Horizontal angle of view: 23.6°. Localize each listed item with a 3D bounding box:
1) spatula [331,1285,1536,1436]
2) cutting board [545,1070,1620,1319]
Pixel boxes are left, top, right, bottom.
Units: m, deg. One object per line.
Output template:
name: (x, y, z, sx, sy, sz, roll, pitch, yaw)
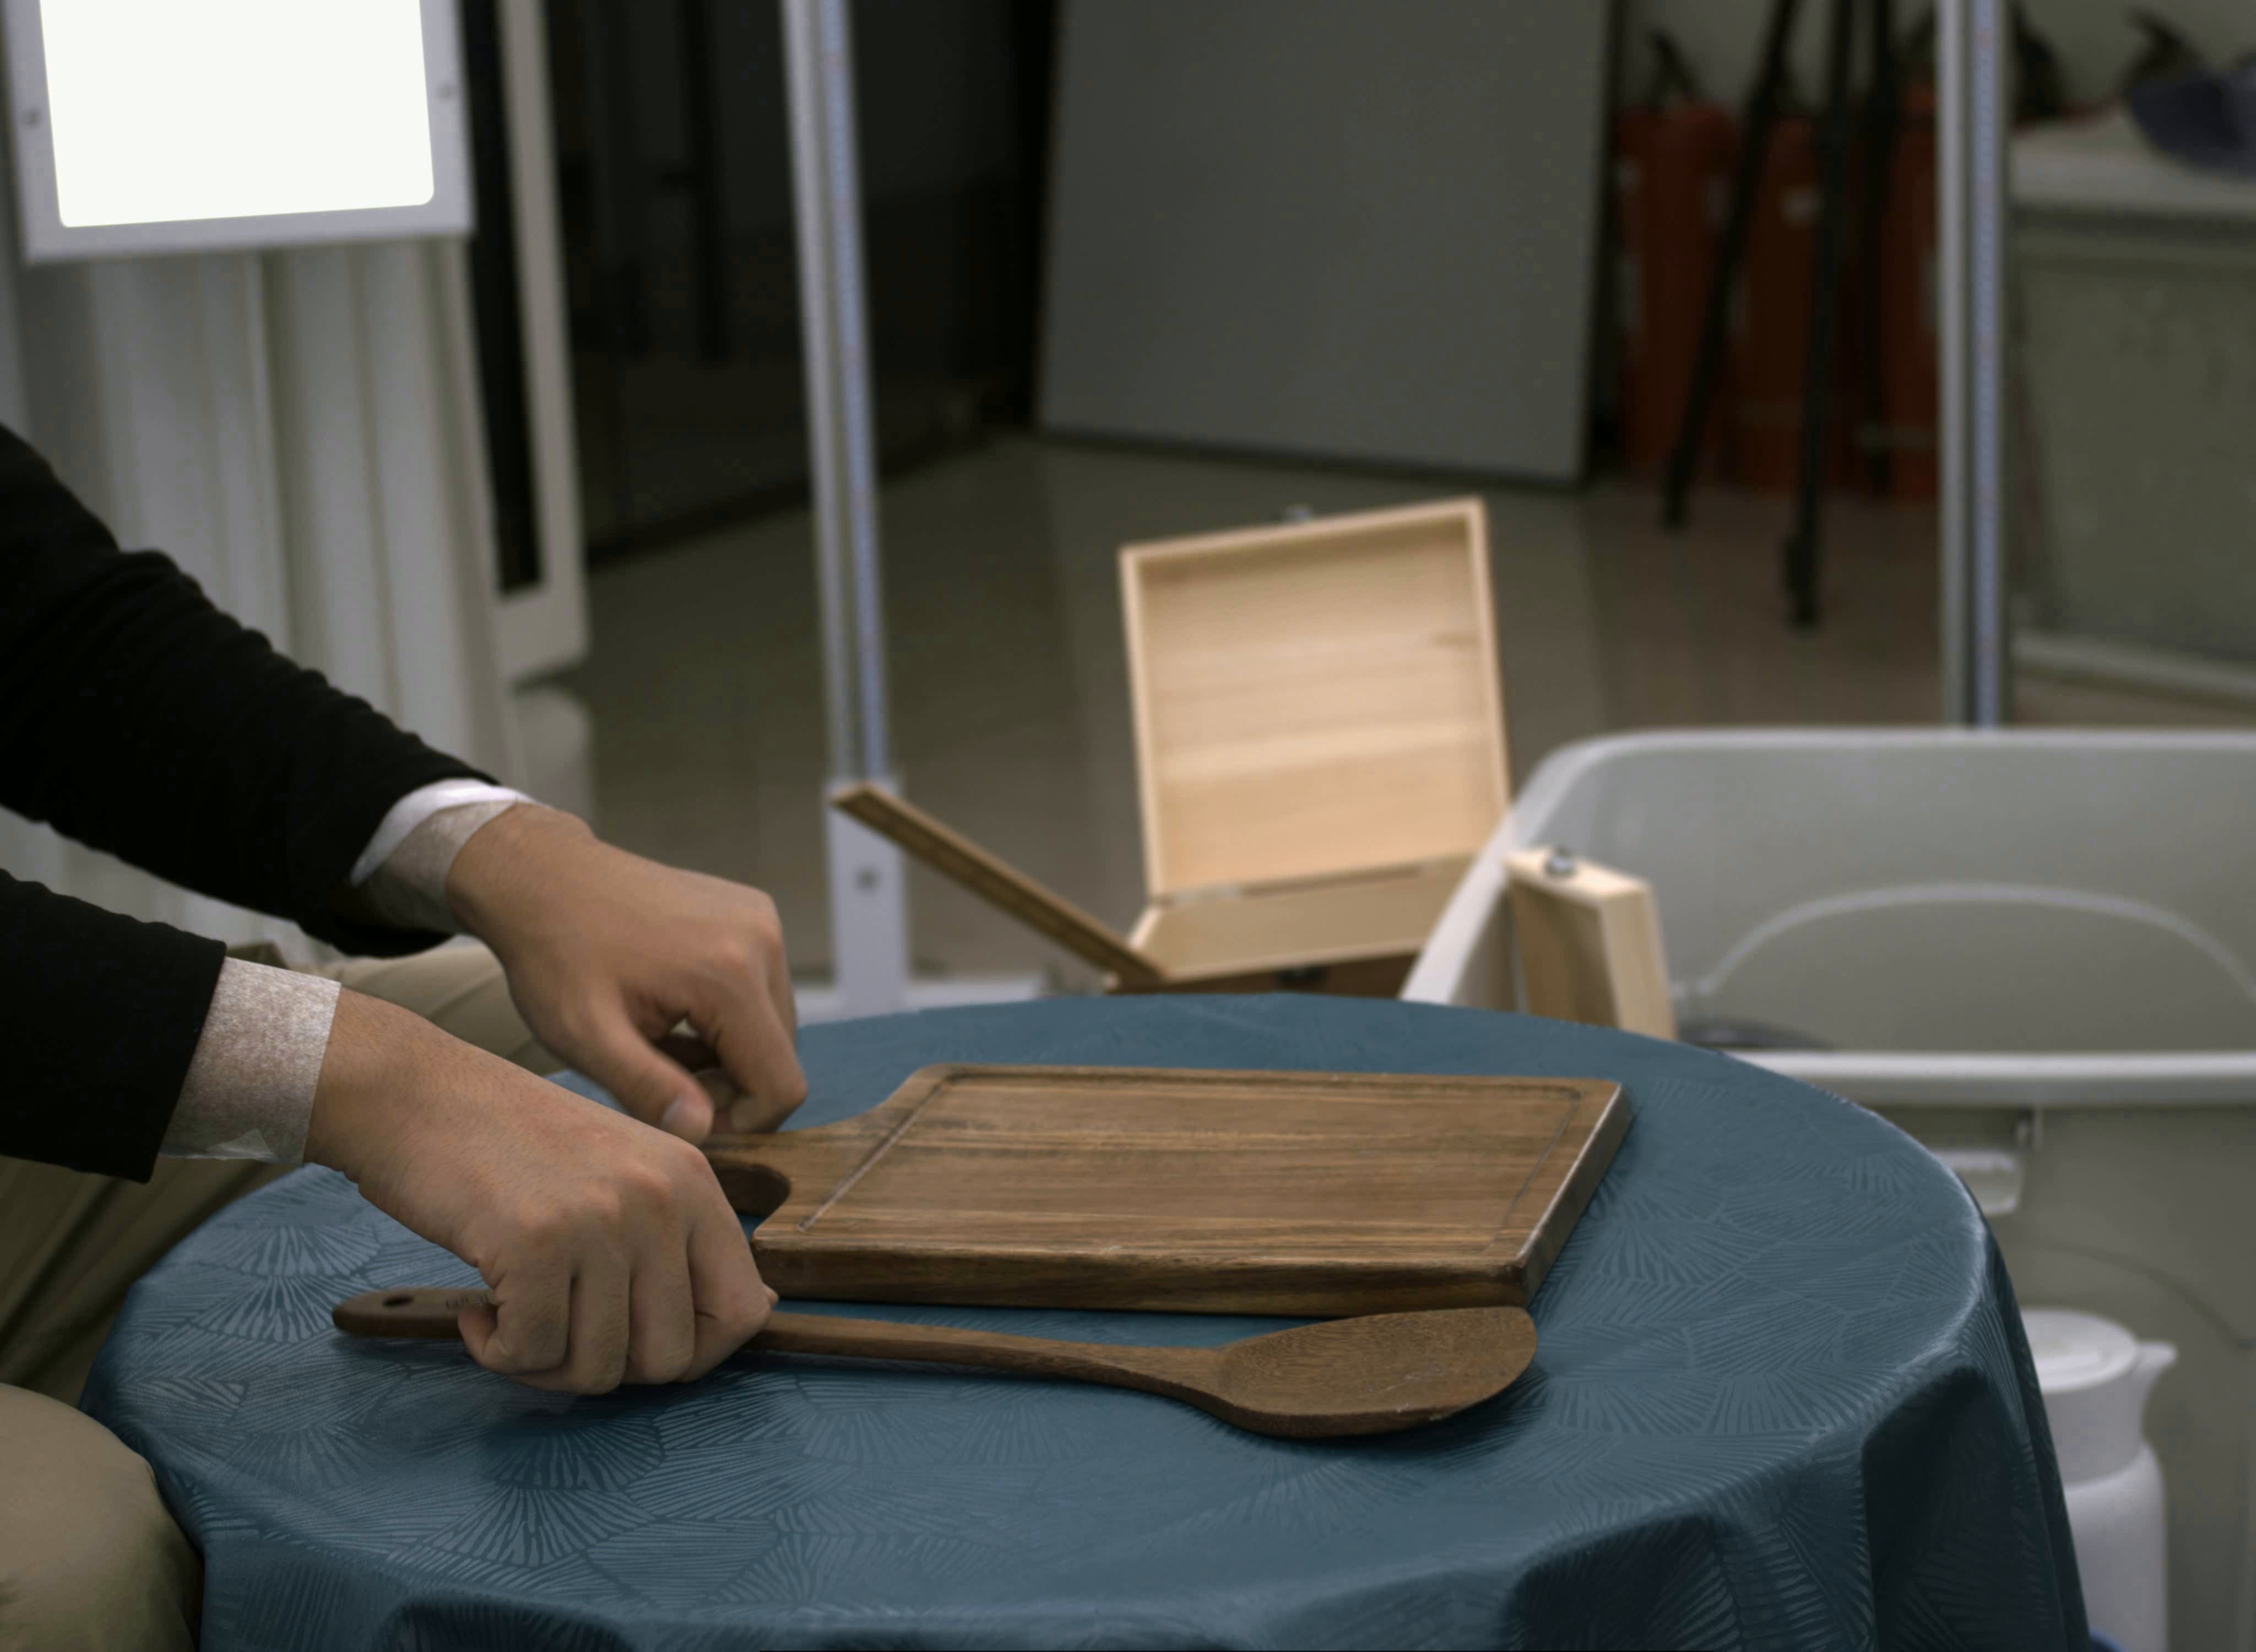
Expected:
spatula: (-0.066, 0.155, 1.614, 0.385, 0.016, 0.095, 2, 14, 20)
cutting board: (-0.024, 0.116, 1.754, 0.351, 0.023, 0.199, 0, 14, 16)
